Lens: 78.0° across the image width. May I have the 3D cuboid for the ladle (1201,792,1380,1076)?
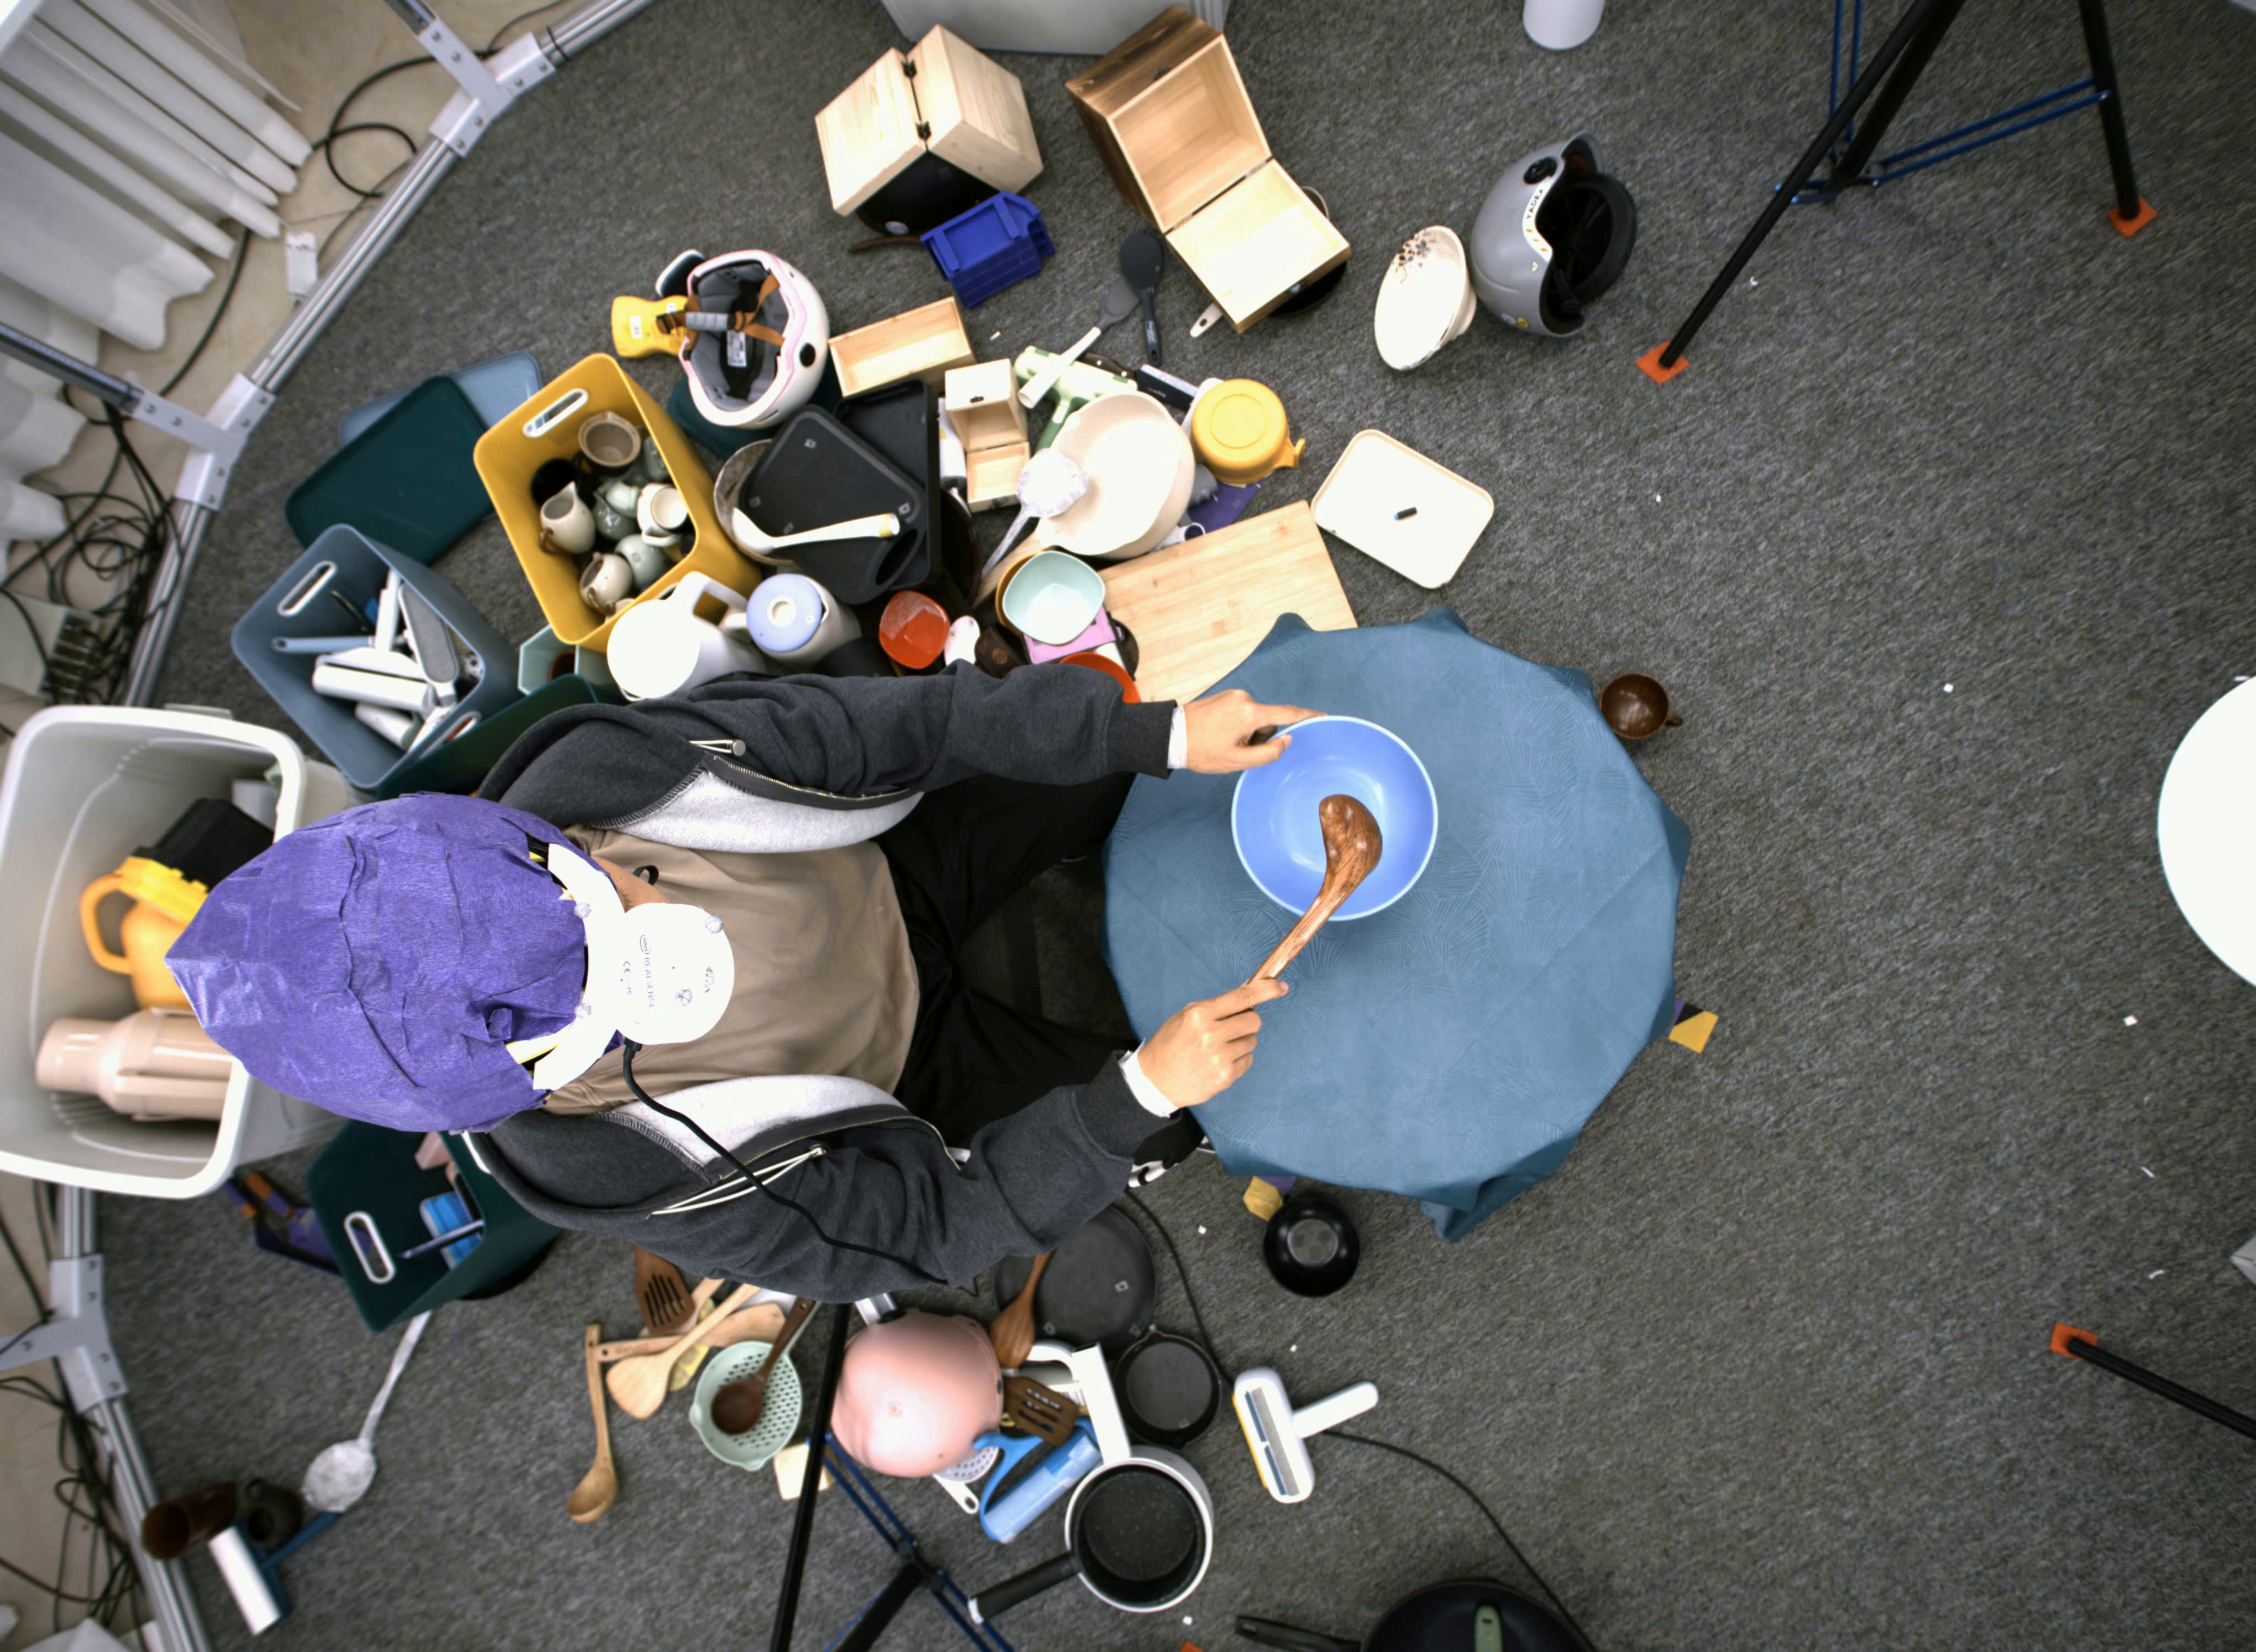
[{"bbox_3d":[0.133,0.091,1.235,0.082,0.076,0.274,35,93,-34],"label":"ladle"}]

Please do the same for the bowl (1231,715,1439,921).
[{"bbox_3d":[0.203,-0.009,1.361,0.197,0.095,0.197,0,94,8],"label":"bowl"}]
